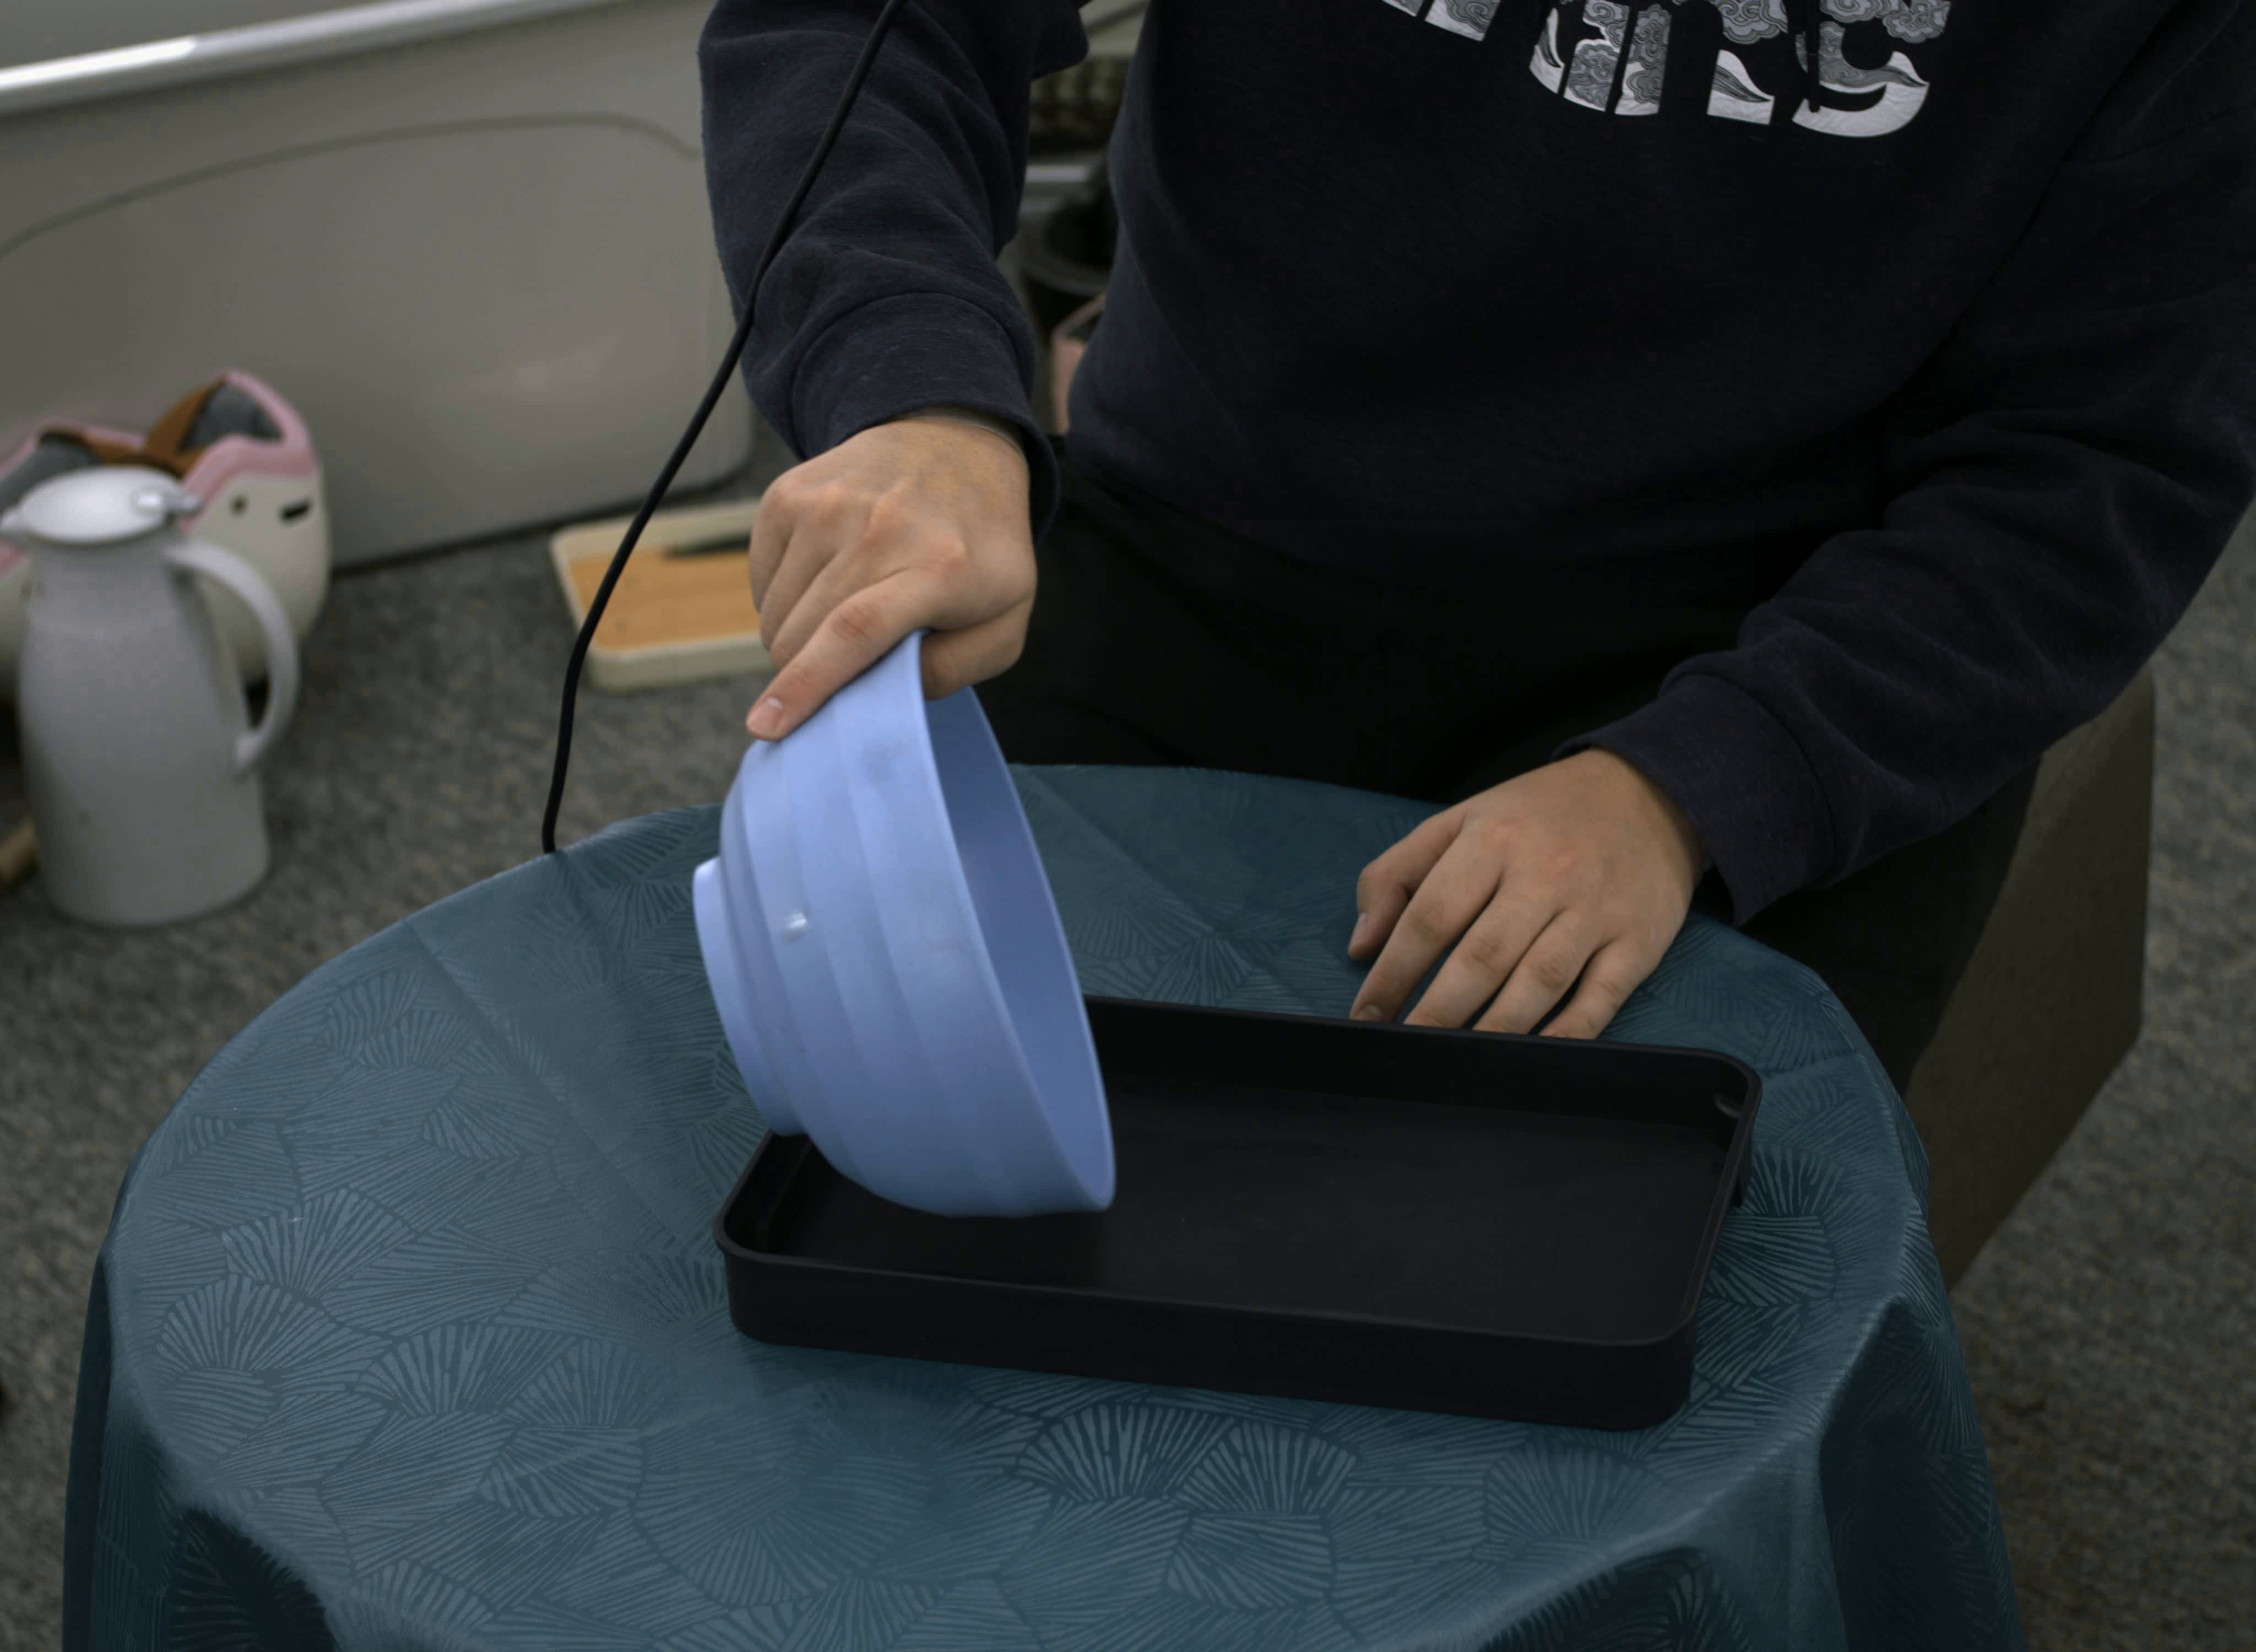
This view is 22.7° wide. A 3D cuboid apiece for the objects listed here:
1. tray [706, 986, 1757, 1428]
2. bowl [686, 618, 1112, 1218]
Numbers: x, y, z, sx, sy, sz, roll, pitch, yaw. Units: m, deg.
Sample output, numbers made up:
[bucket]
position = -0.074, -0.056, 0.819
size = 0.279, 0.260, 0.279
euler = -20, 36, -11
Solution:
[tray]
position = 0.036, 0.118, 1.826
size = 0.316, 0.036, 0.187
euler = 5, 28, 13
[bowl]
position = -0.081, 0.041, 1.791
size = 0.095, 0.195, 0.199
euler = -18, 26, 7
